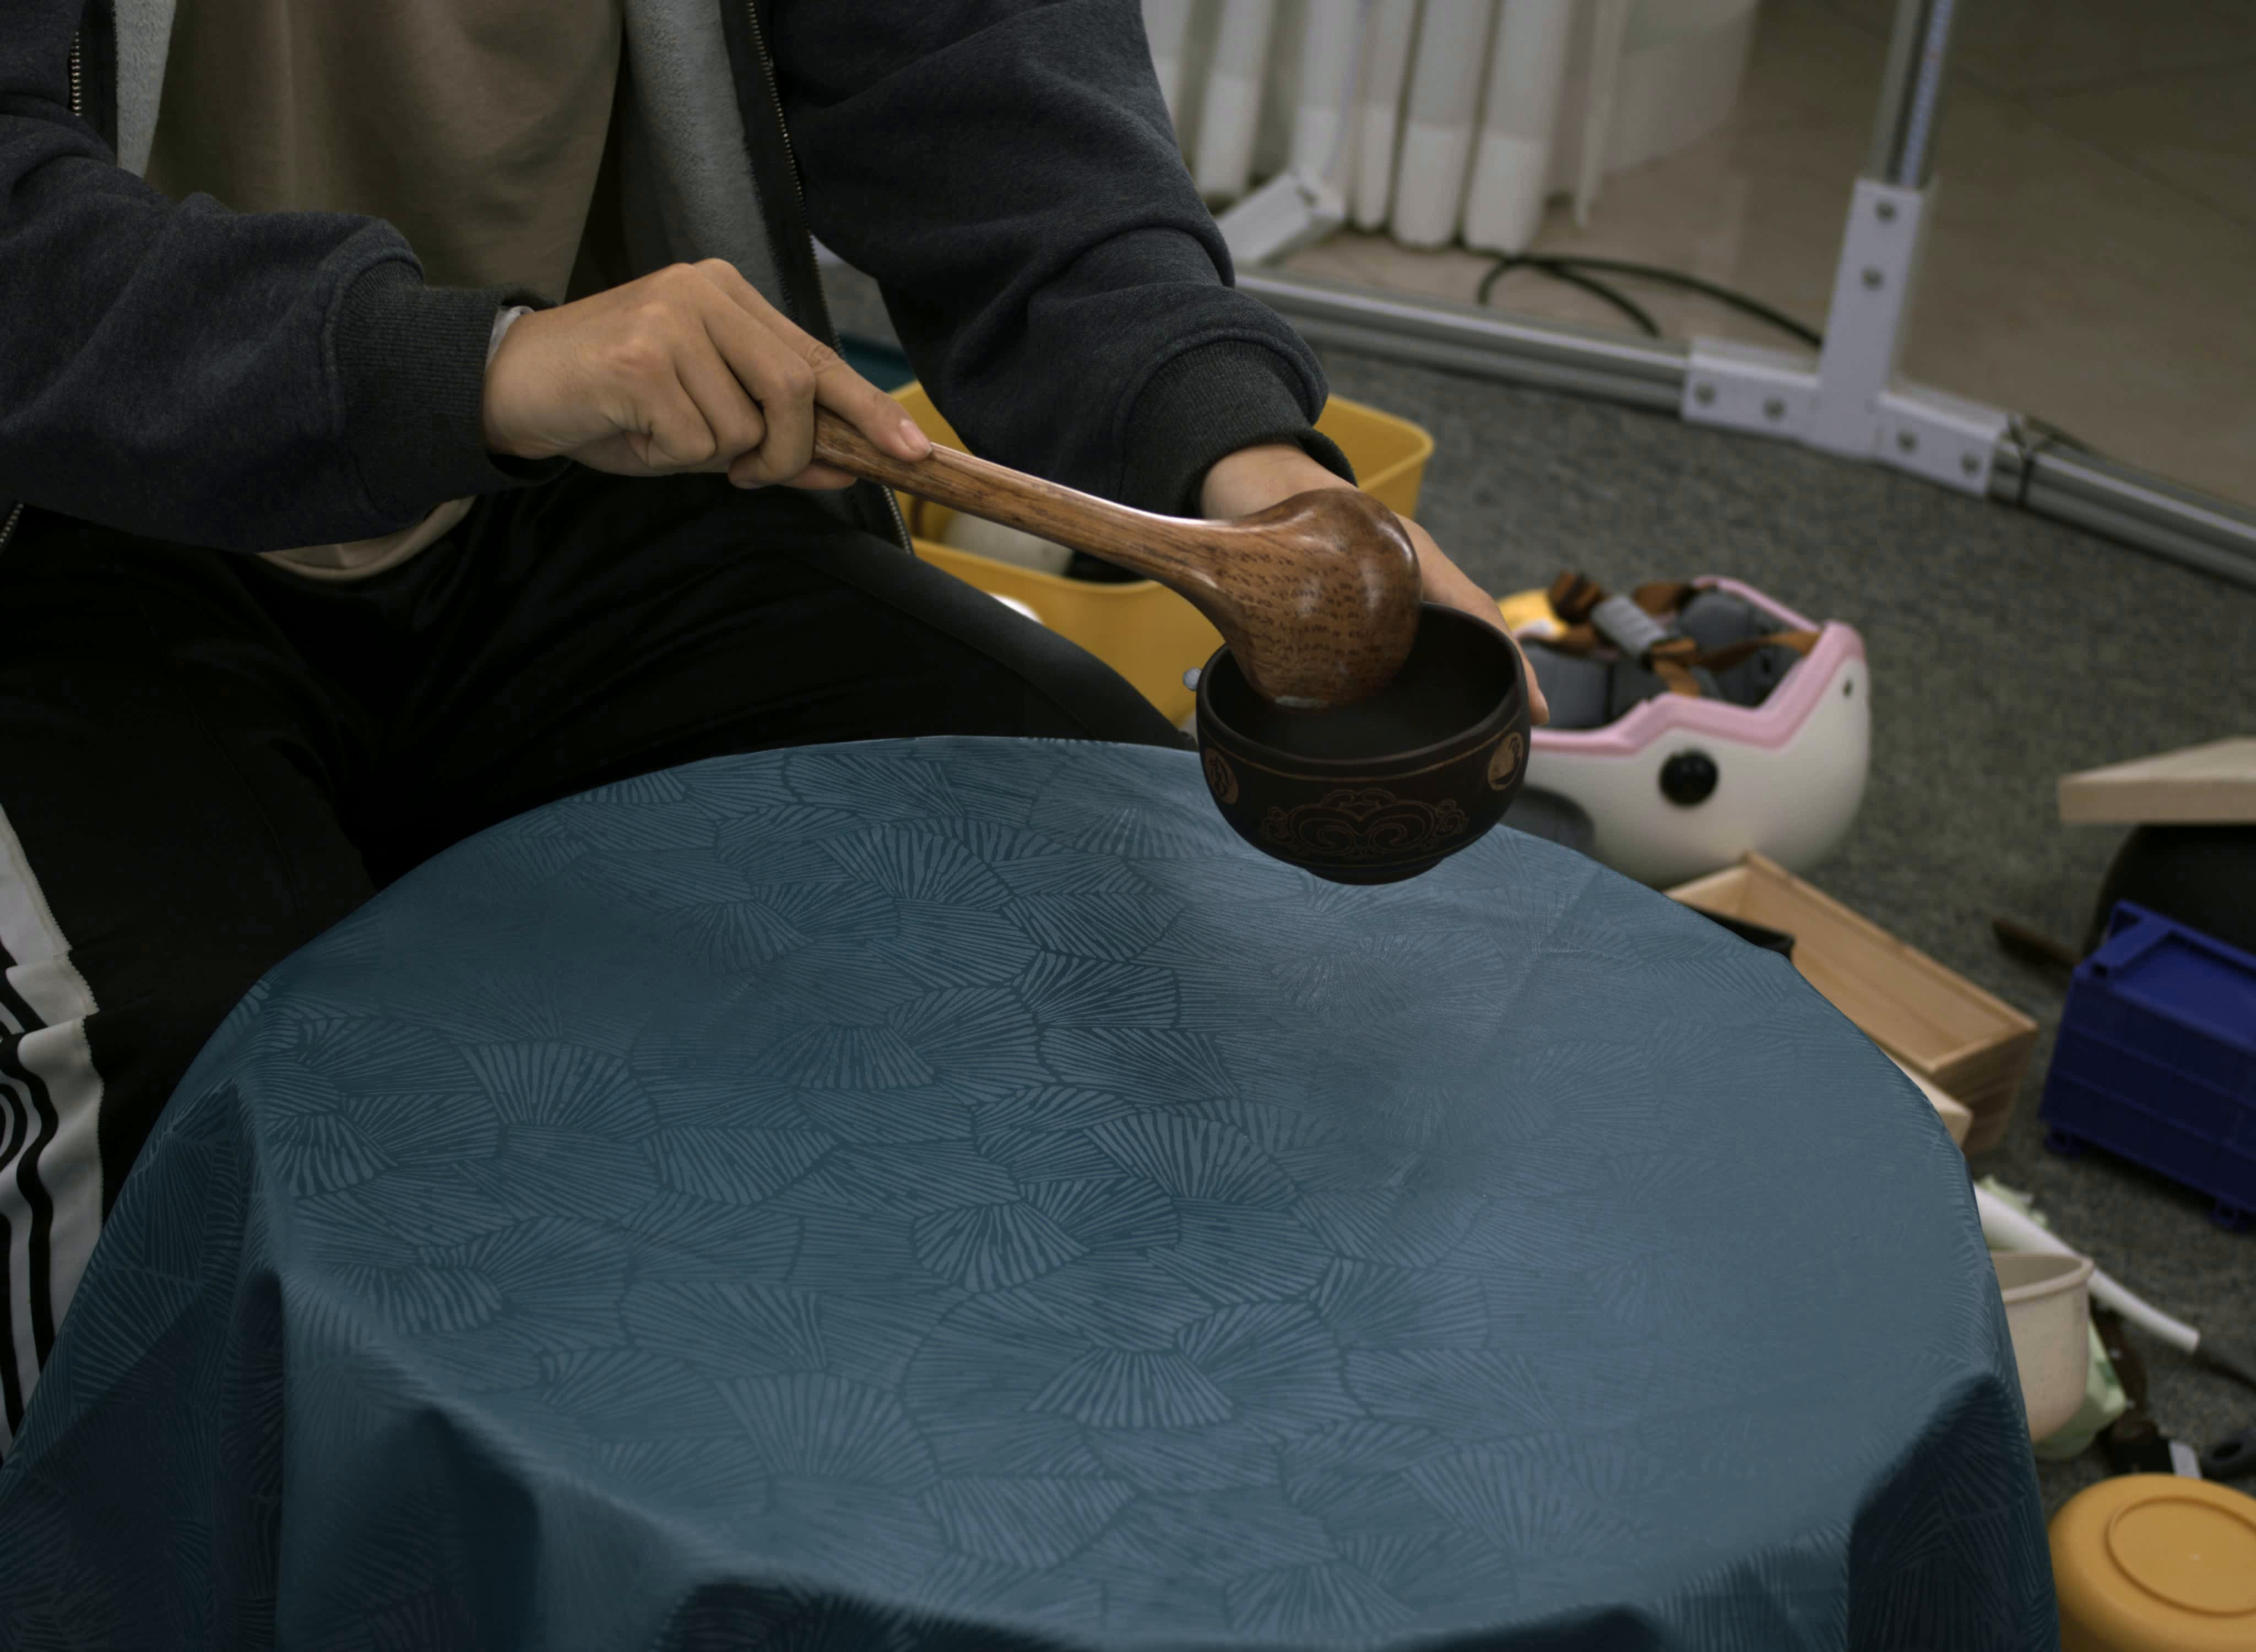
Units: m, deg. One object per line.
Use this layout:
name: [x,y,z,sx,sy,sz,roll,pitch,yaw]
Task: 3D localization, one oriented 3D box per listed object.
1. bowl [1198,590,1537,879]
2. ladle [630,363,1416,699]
bowl: [0.085,-0.025,1.864,0.118,0.069,0.119,-6,31,3]
ladle: [-0.034,-0.113,1.833,0.274,0.082,0.076,16,-2,5]
